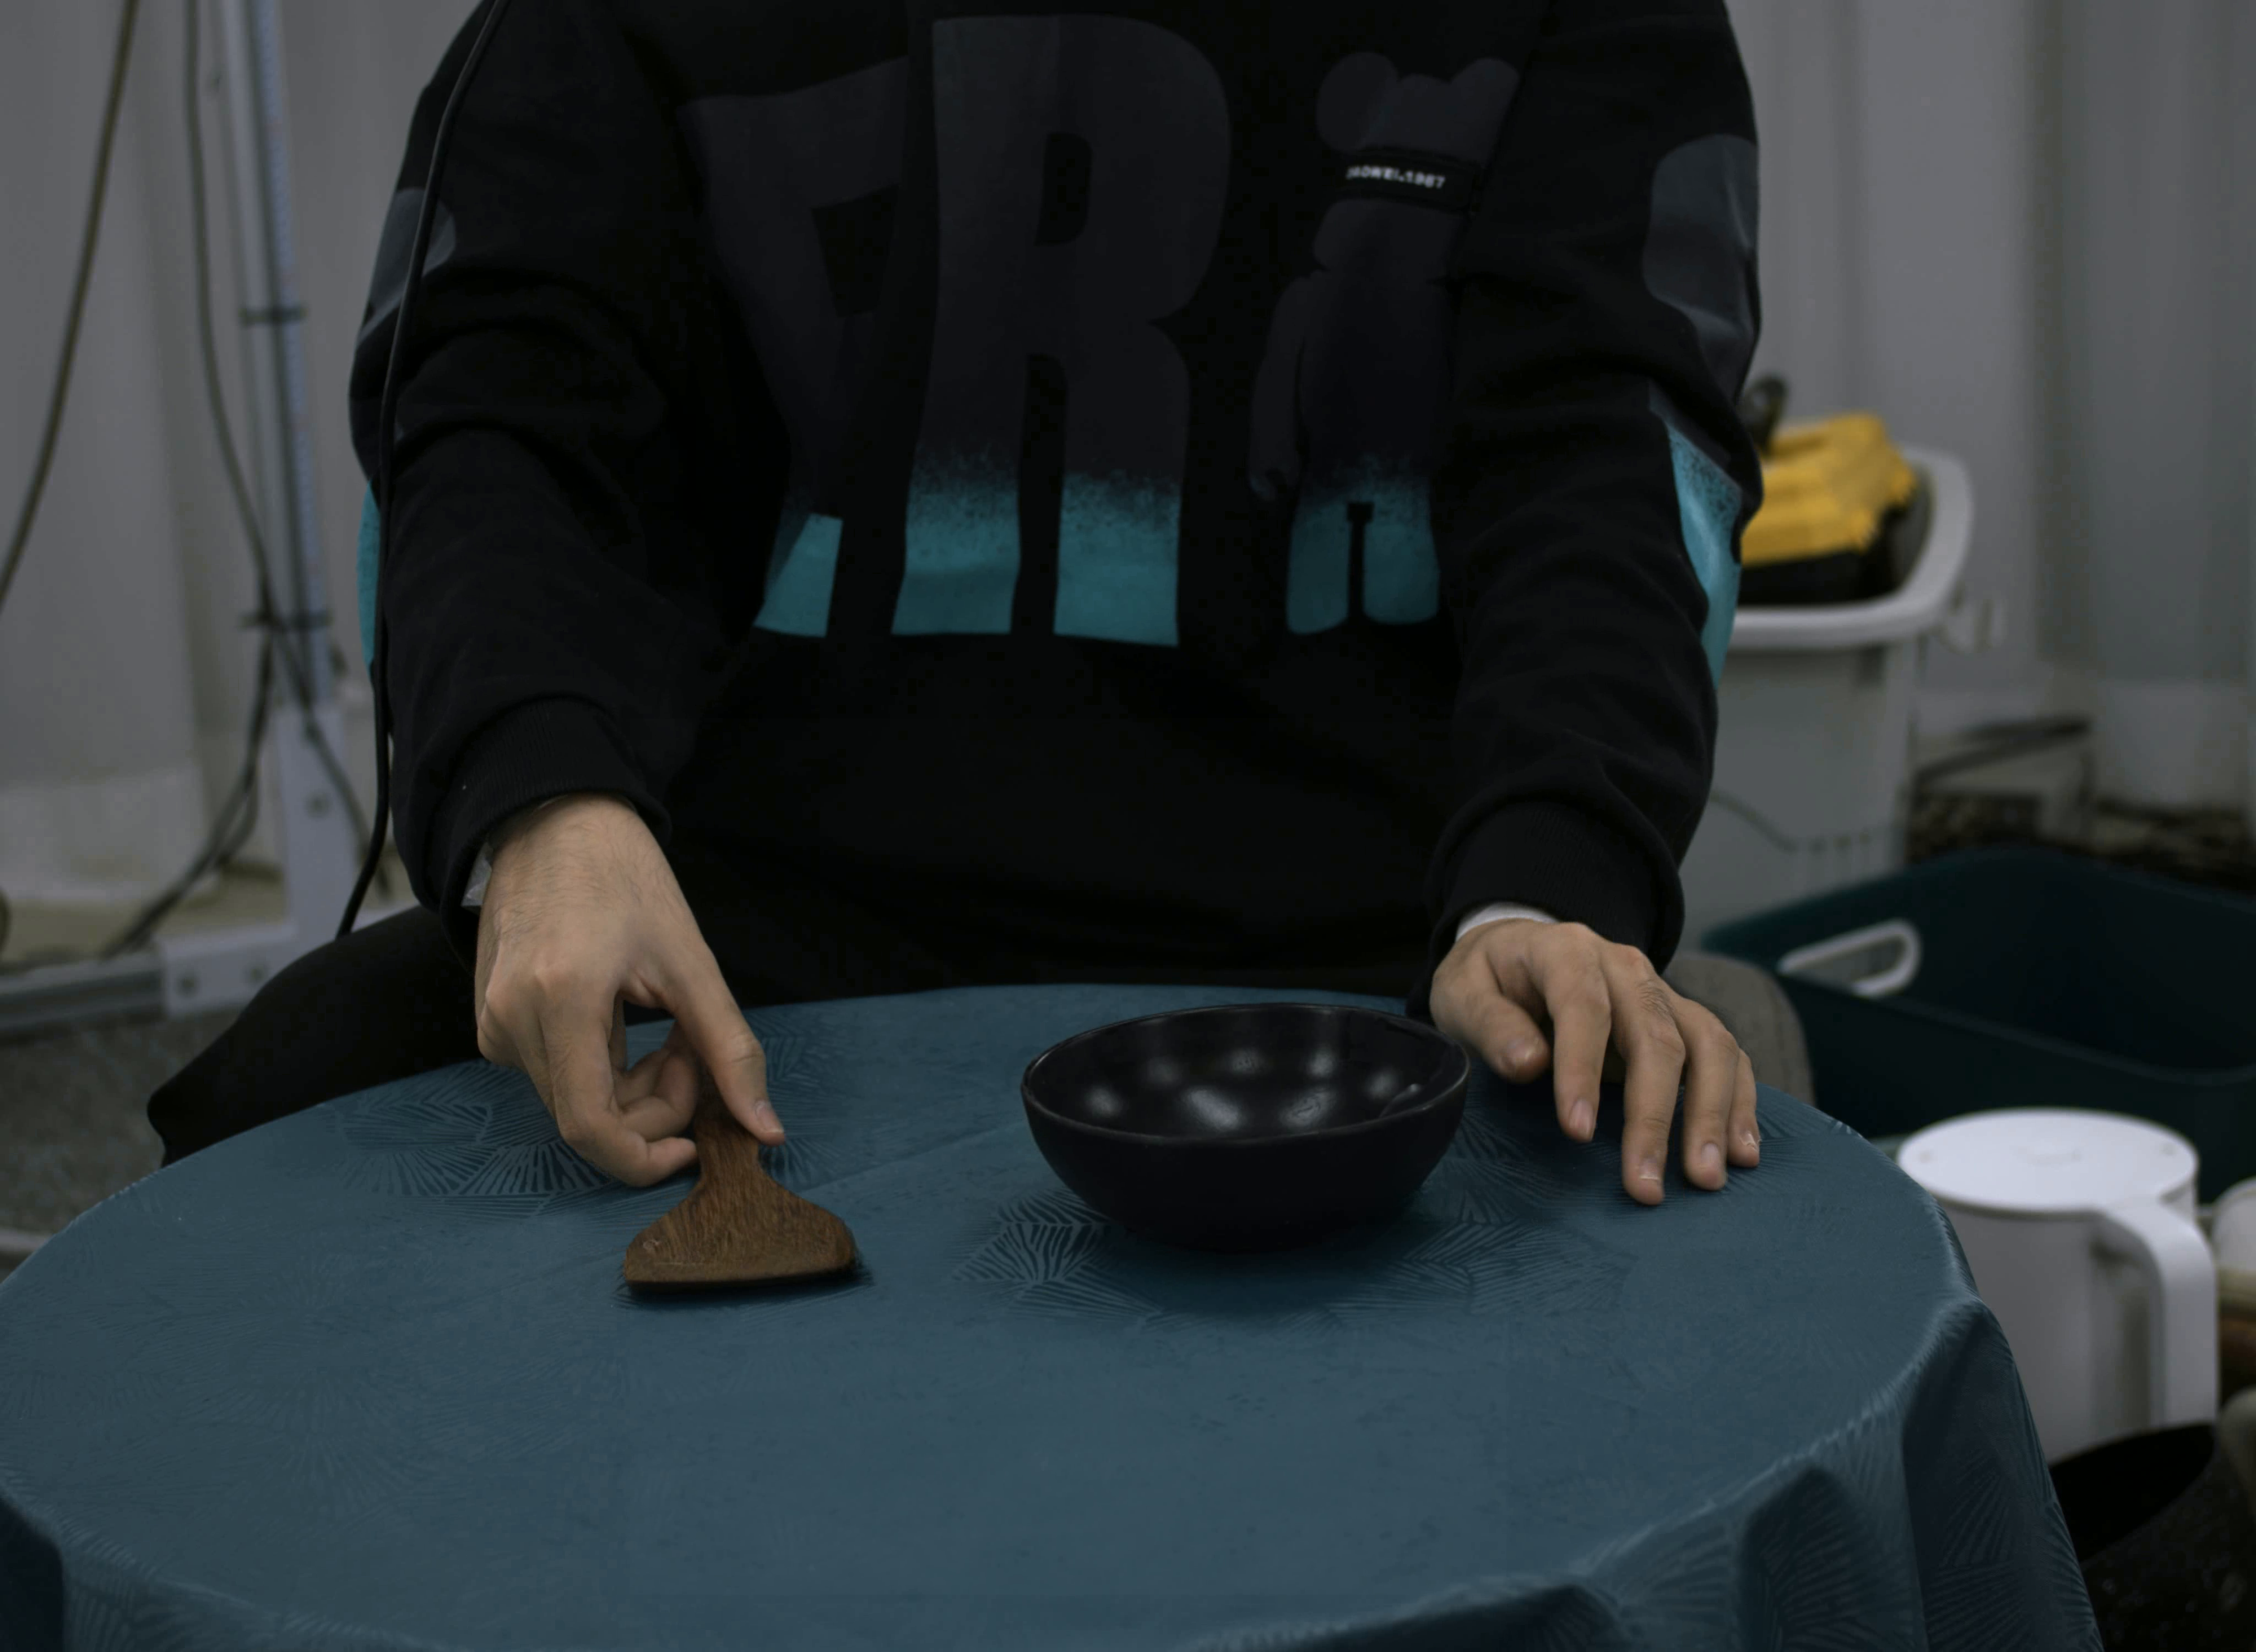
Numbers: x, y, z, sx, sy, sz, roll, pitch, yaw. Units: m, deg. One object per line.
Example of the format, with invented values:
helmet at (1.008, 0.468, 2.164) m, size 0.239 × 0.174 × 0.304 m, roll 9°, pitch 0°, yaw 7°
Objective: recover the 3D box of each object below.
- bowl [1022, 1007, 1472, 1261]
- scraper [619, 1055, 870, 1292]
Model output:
bowl at (0.039, 0.099, 1.677) m, size 0.139 × 0.049 × 0.141 m, roll -5°, pitch 14°, yaw 1°
scraper at (-0.126, 0.109, 1.733) m, size 0.075 × 0.011 × 0.213 m, roll -4°, pitch 17°, yaw -6°
